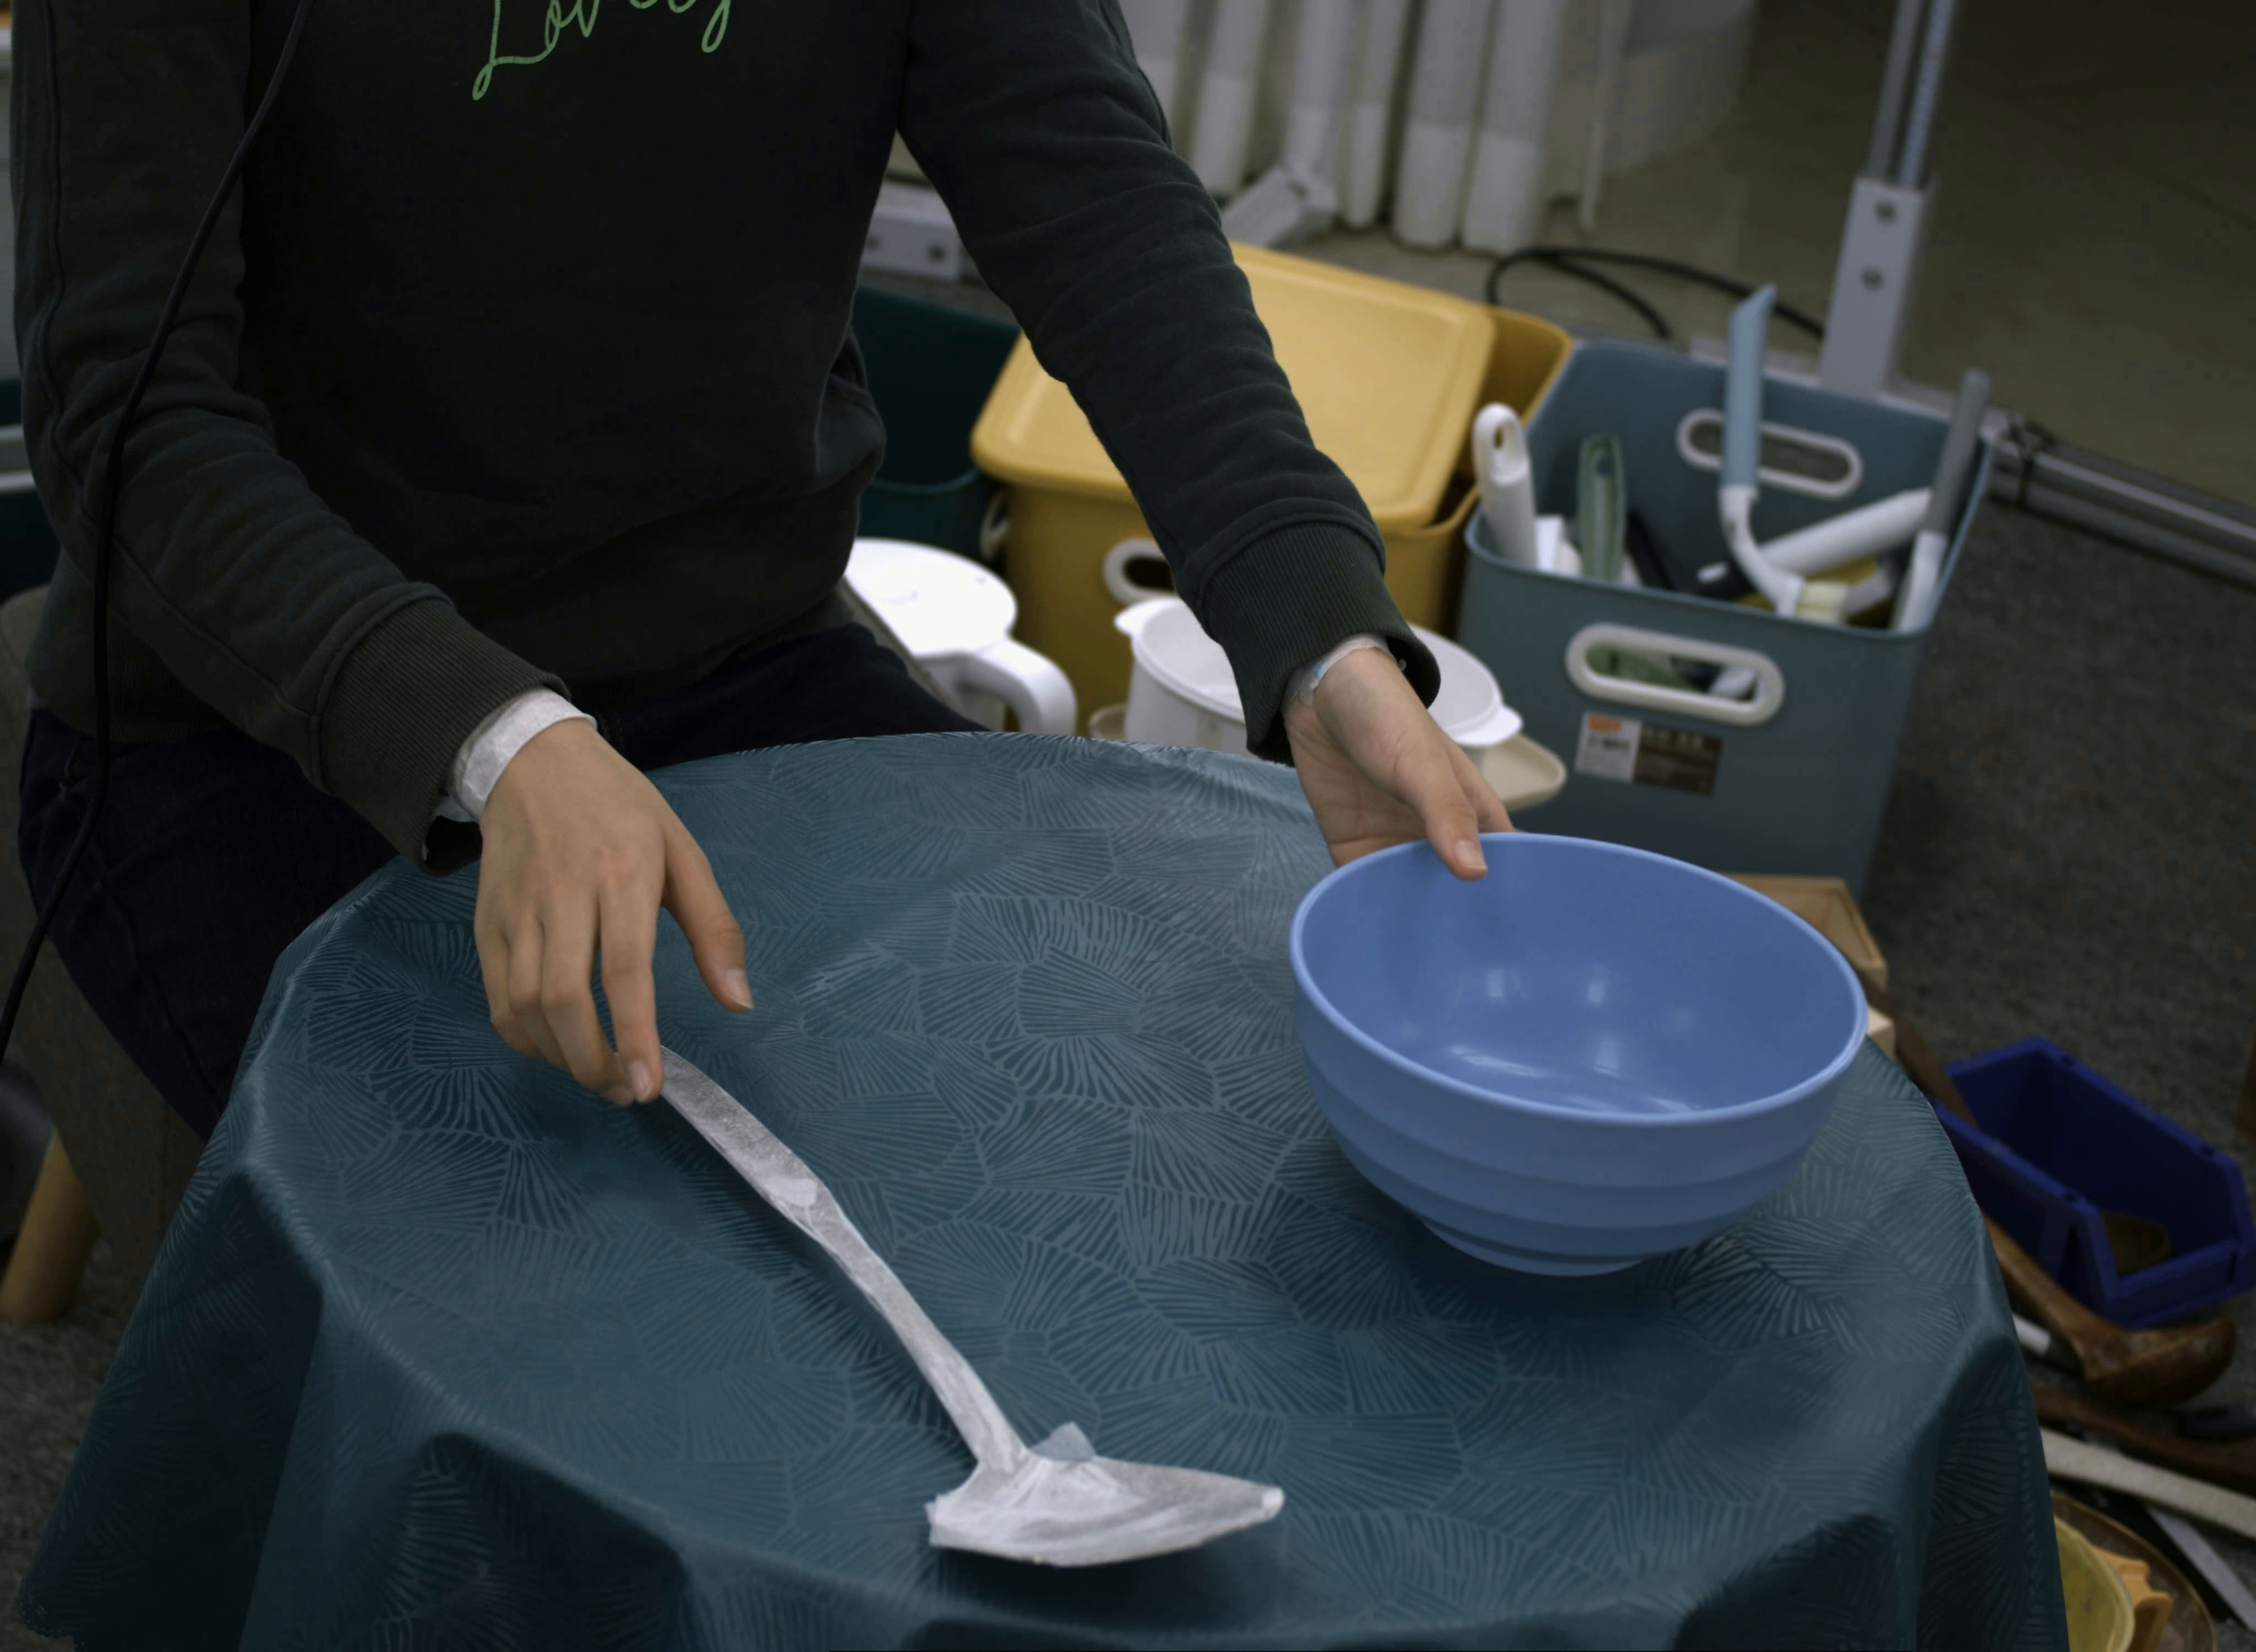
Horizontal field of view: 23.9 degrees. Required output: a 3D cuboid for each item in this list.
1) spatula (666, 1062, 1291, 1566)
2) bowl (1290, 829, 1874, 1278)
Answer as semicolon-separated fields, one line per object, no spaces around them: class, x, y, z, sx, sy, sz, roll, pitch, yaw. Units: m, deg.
spatula;-0.072;0.147;1.696;0.098;0.044;0.368;-10;31;-27
bowl;0.146;0.089;1.798;0.196;0.095;0.198;5;28;-3
